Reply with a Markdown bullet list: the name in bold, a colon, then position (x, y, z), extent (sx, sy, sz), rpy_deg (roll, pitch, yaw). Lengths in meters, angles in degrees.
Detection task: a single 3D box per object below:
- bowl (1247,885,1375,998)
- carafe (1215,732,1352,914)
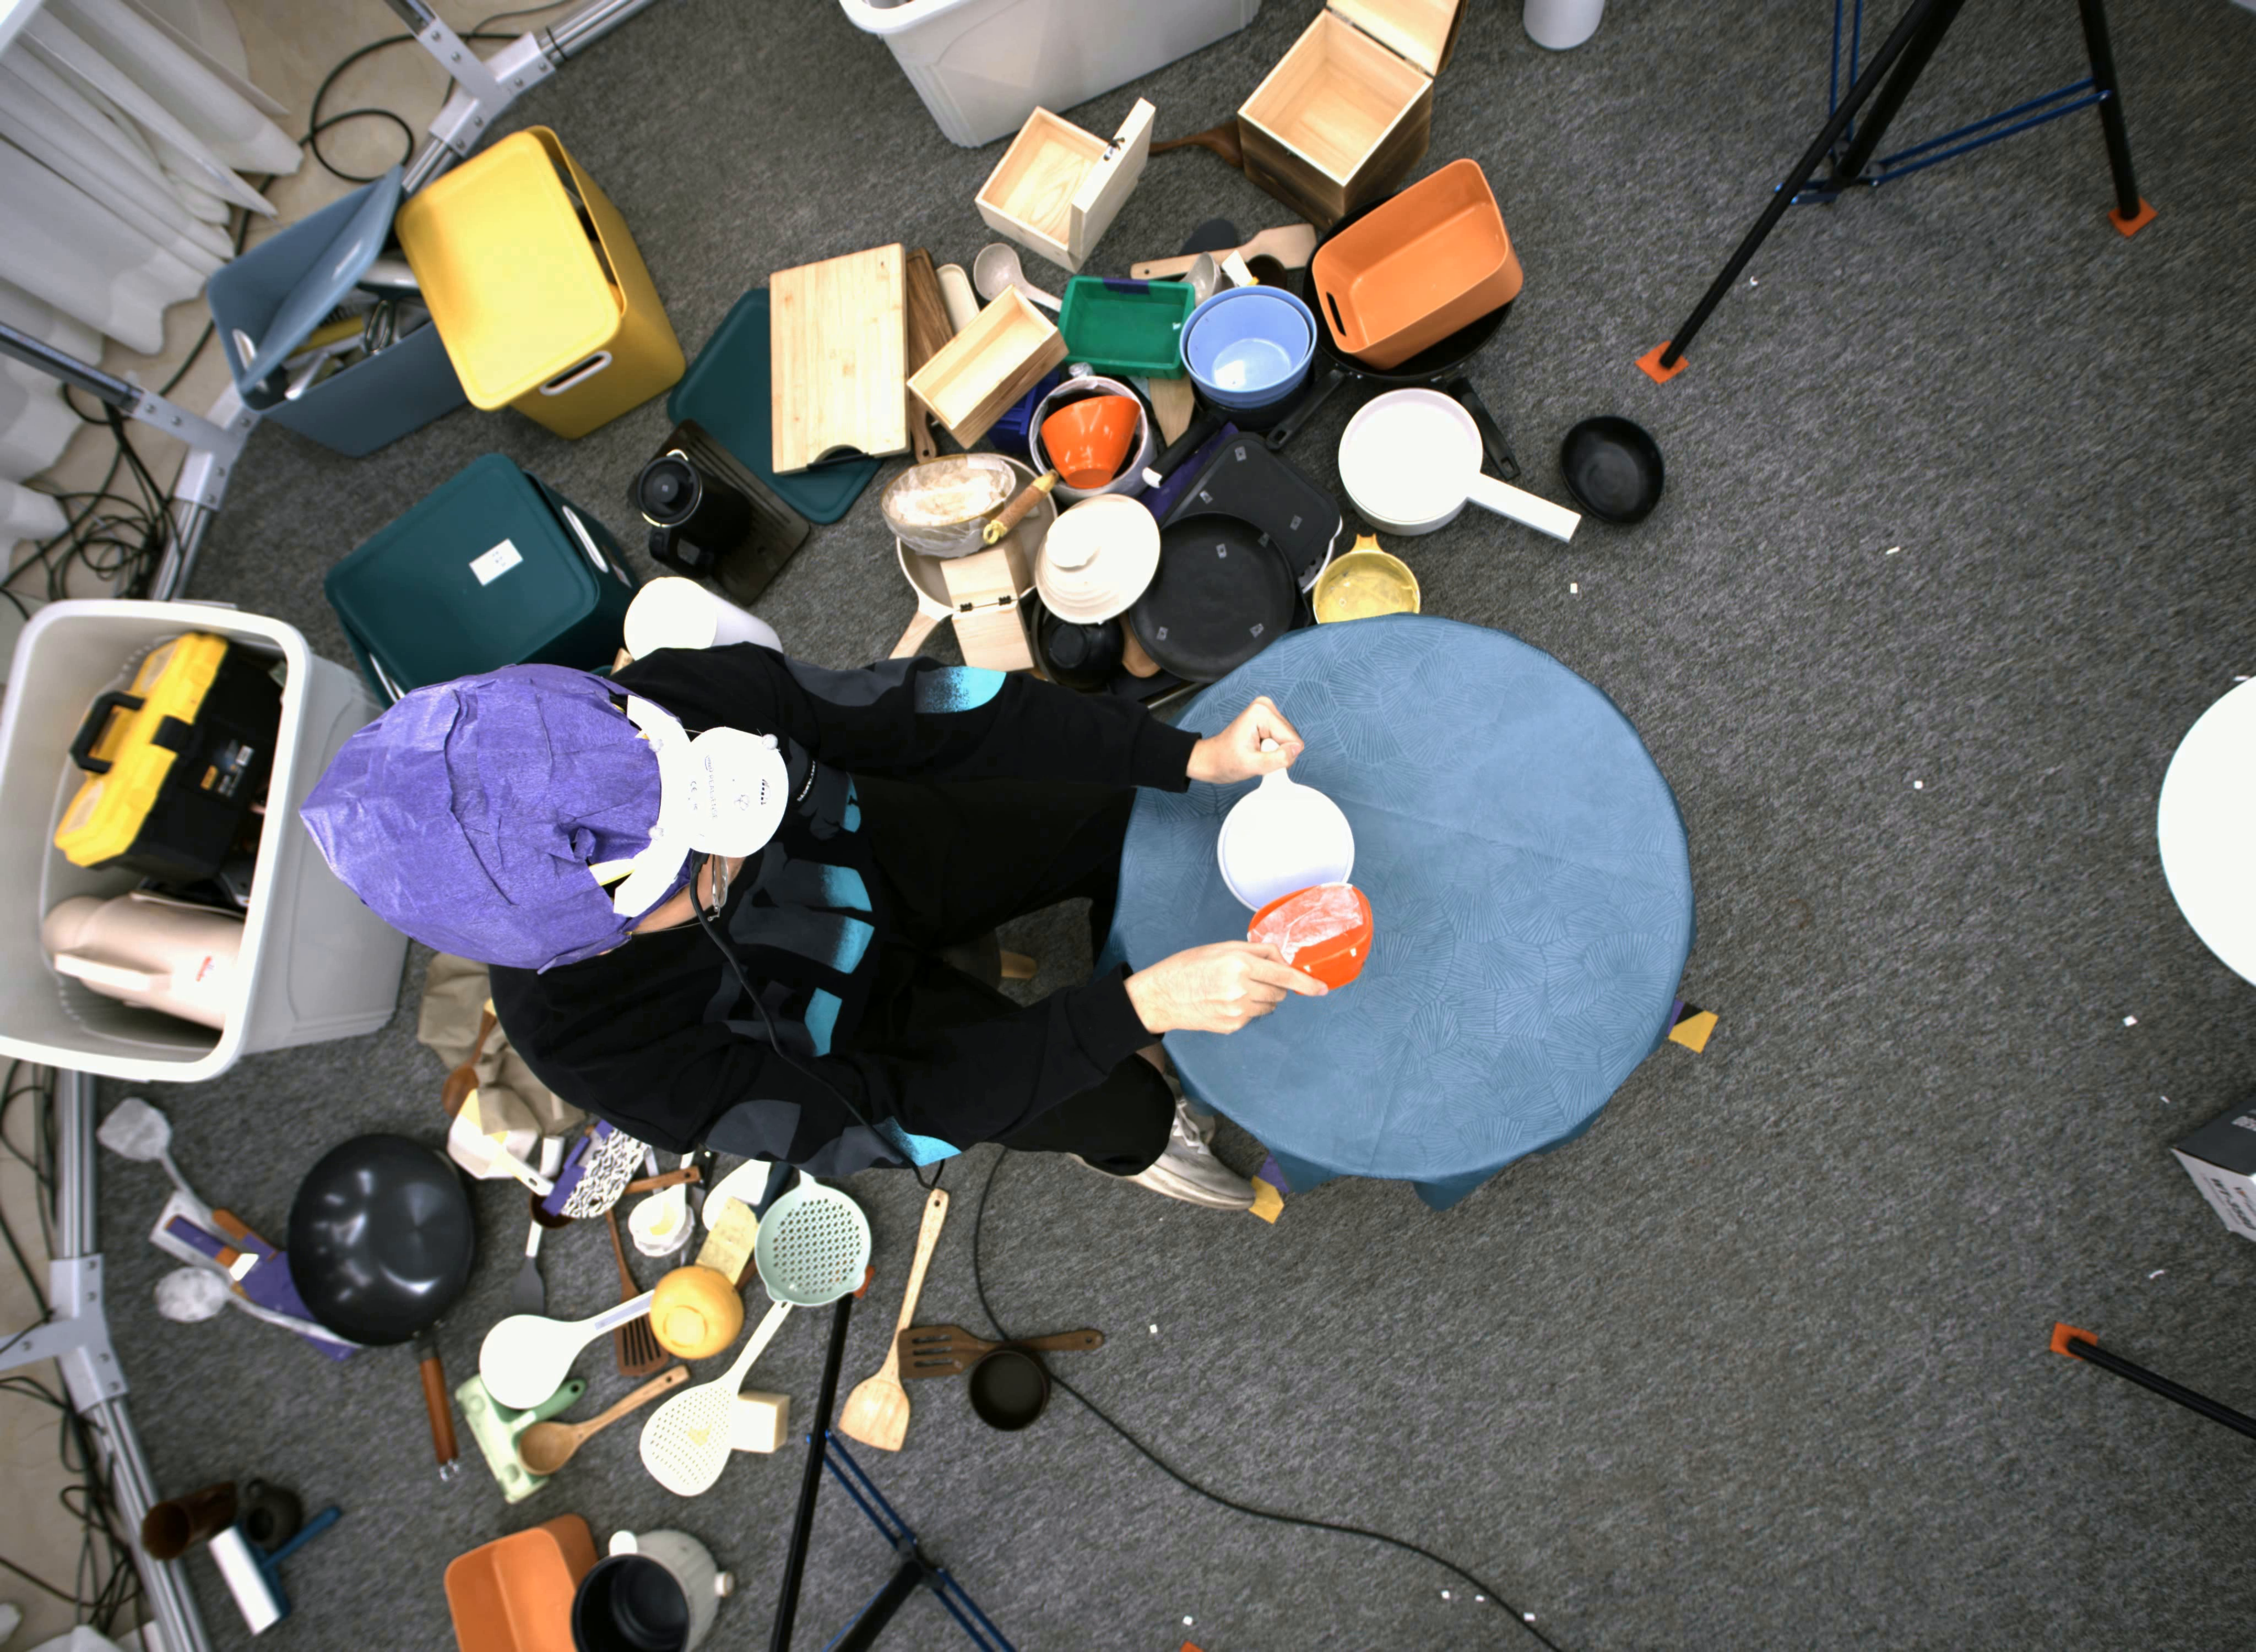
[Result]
- **bowl**: position (0.163, 0.107, 1.209), extent (0.119, 0.116, 0.052), rpy_deg (-16, 125, 8)
- **carafe**: position (0.149, -0.002, 1.367), extent (0.133, 0.182, 0.191), rpy_deg (-10, 89, 5)
